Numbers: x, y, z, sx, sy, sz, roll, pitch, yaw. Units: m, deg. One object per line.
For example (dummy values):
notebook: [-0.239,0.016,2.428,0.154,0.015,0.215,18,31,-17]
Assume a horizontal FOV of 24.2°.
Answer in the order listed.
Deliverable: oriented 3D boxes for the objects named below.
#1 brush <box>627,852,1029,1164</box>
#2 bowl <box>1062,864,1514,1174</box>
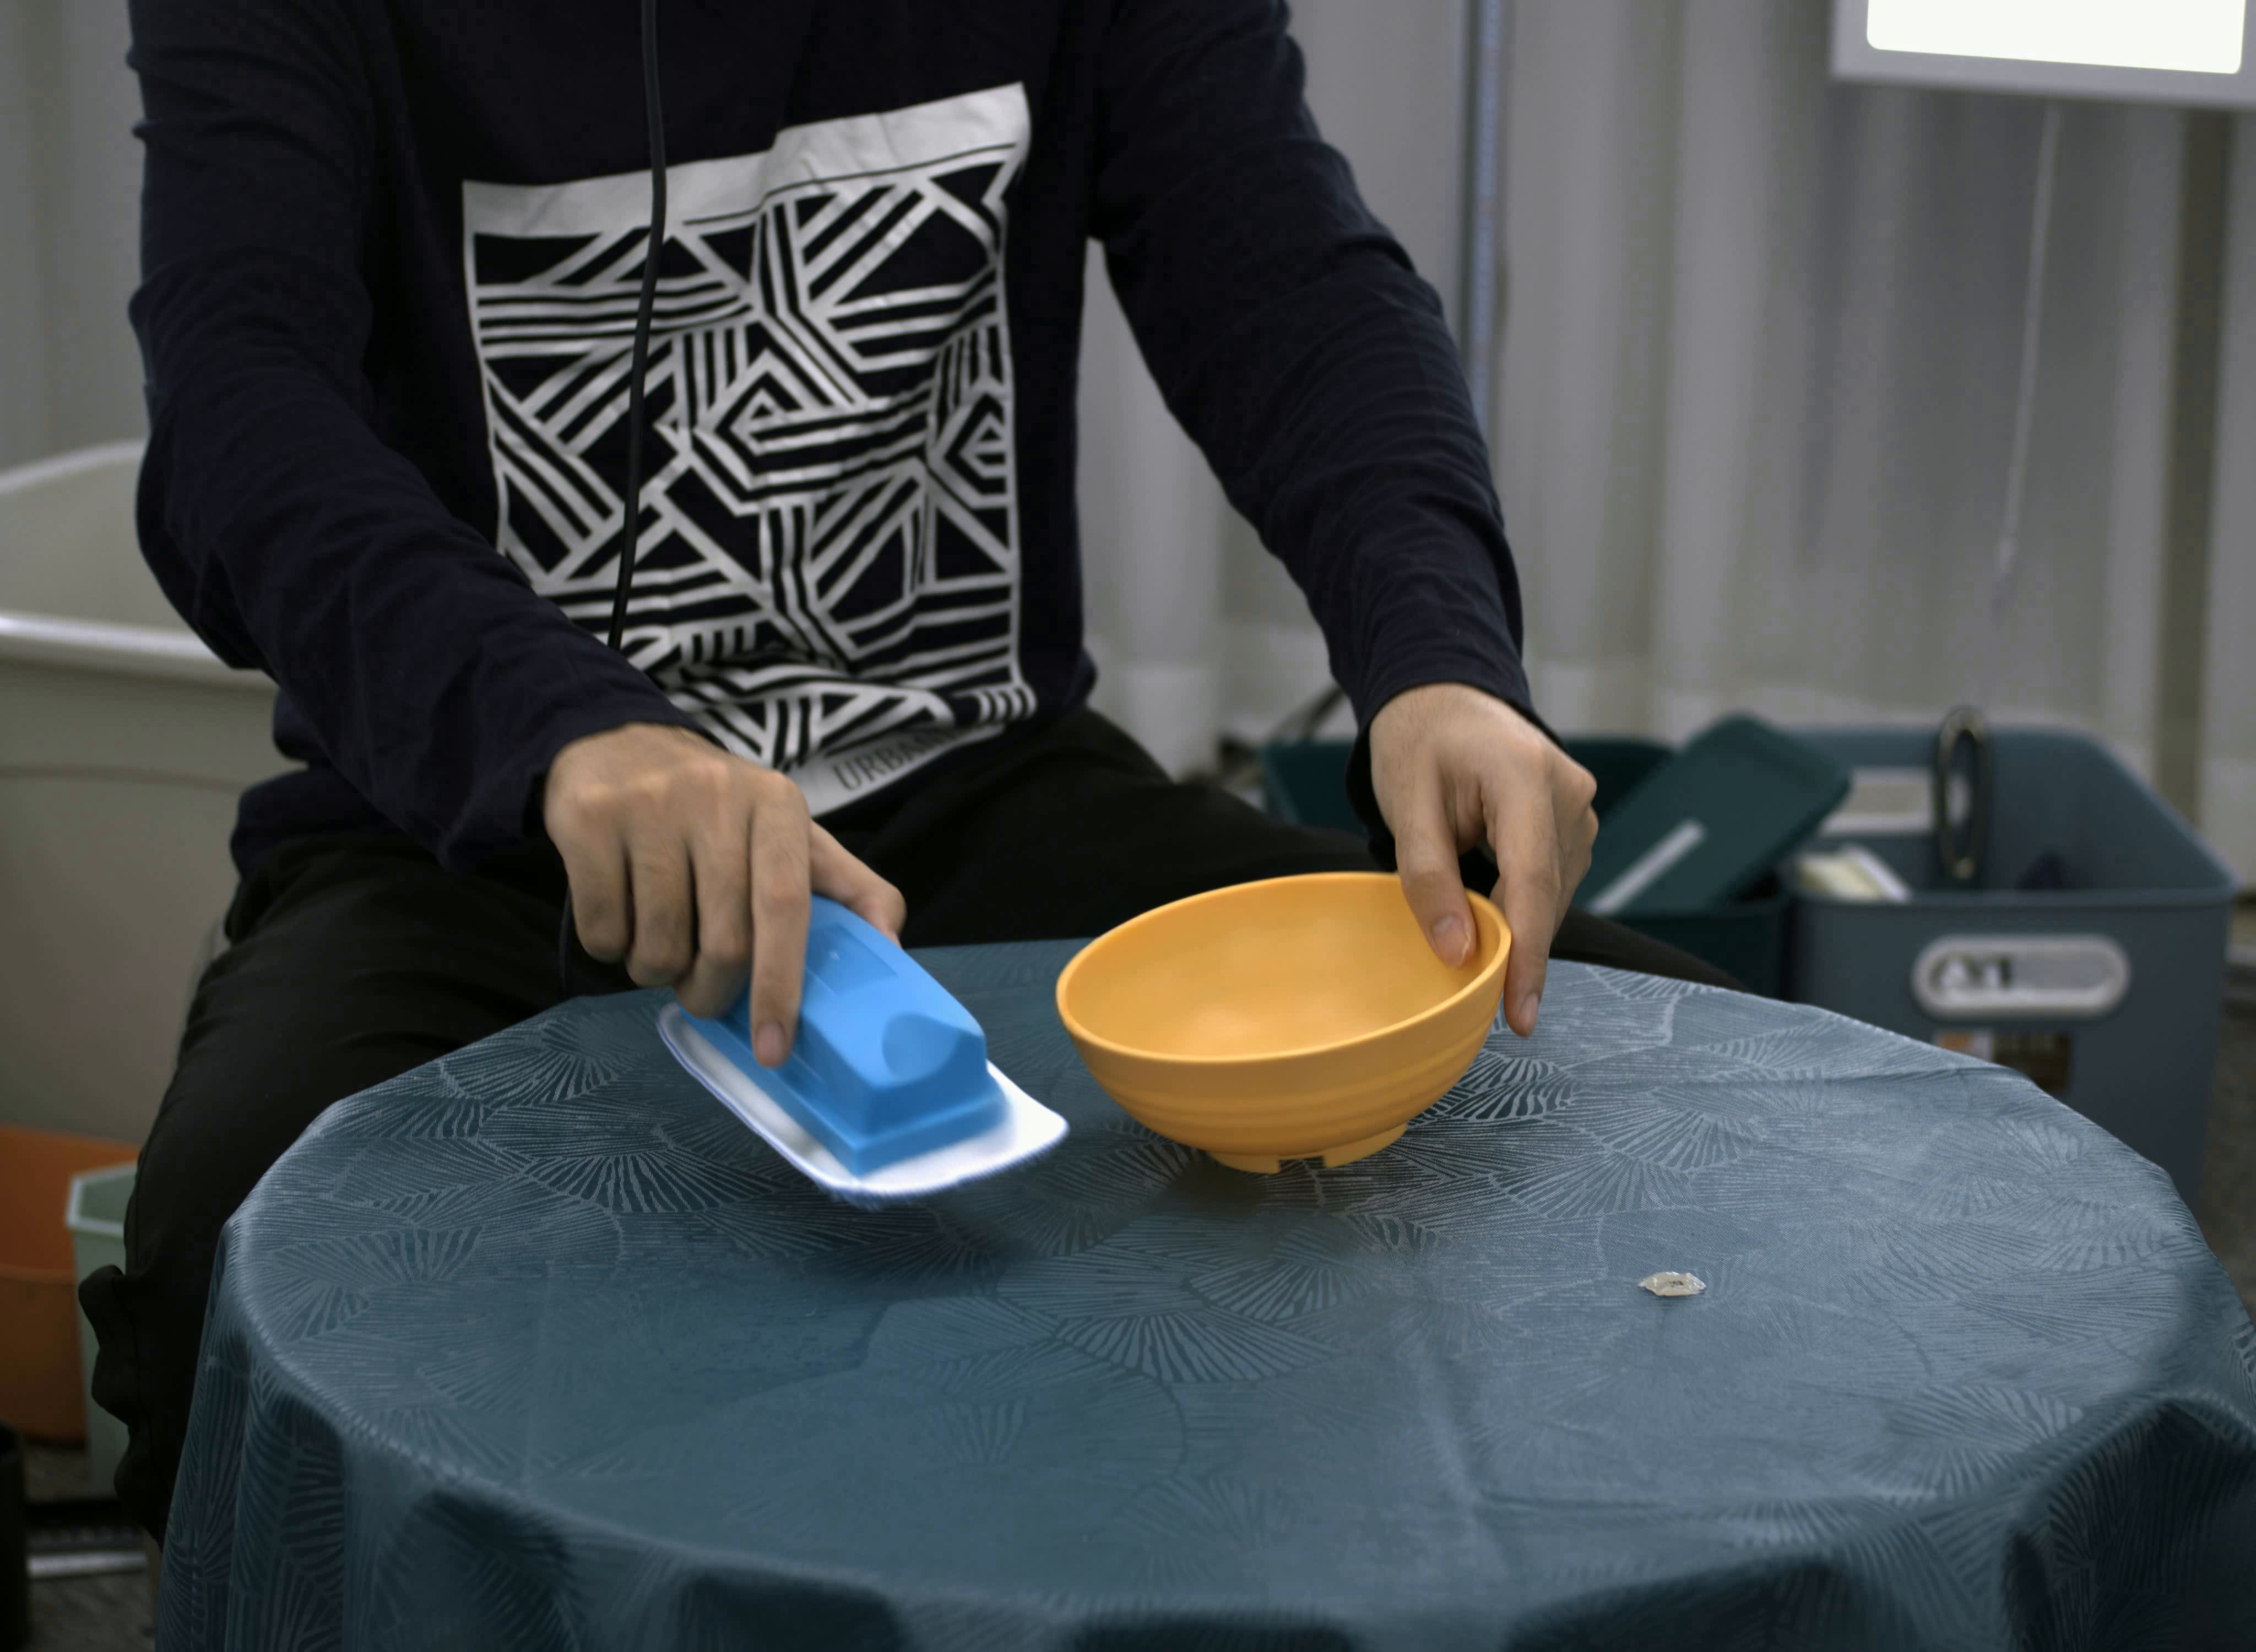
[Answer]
brush: [-0.090,0.051,1.591,0.084,0.056,0.142,-11,31,-27]
bowl: [0.054,0.069,1.657,0.145,0.061,0.144,-7,23,4]
